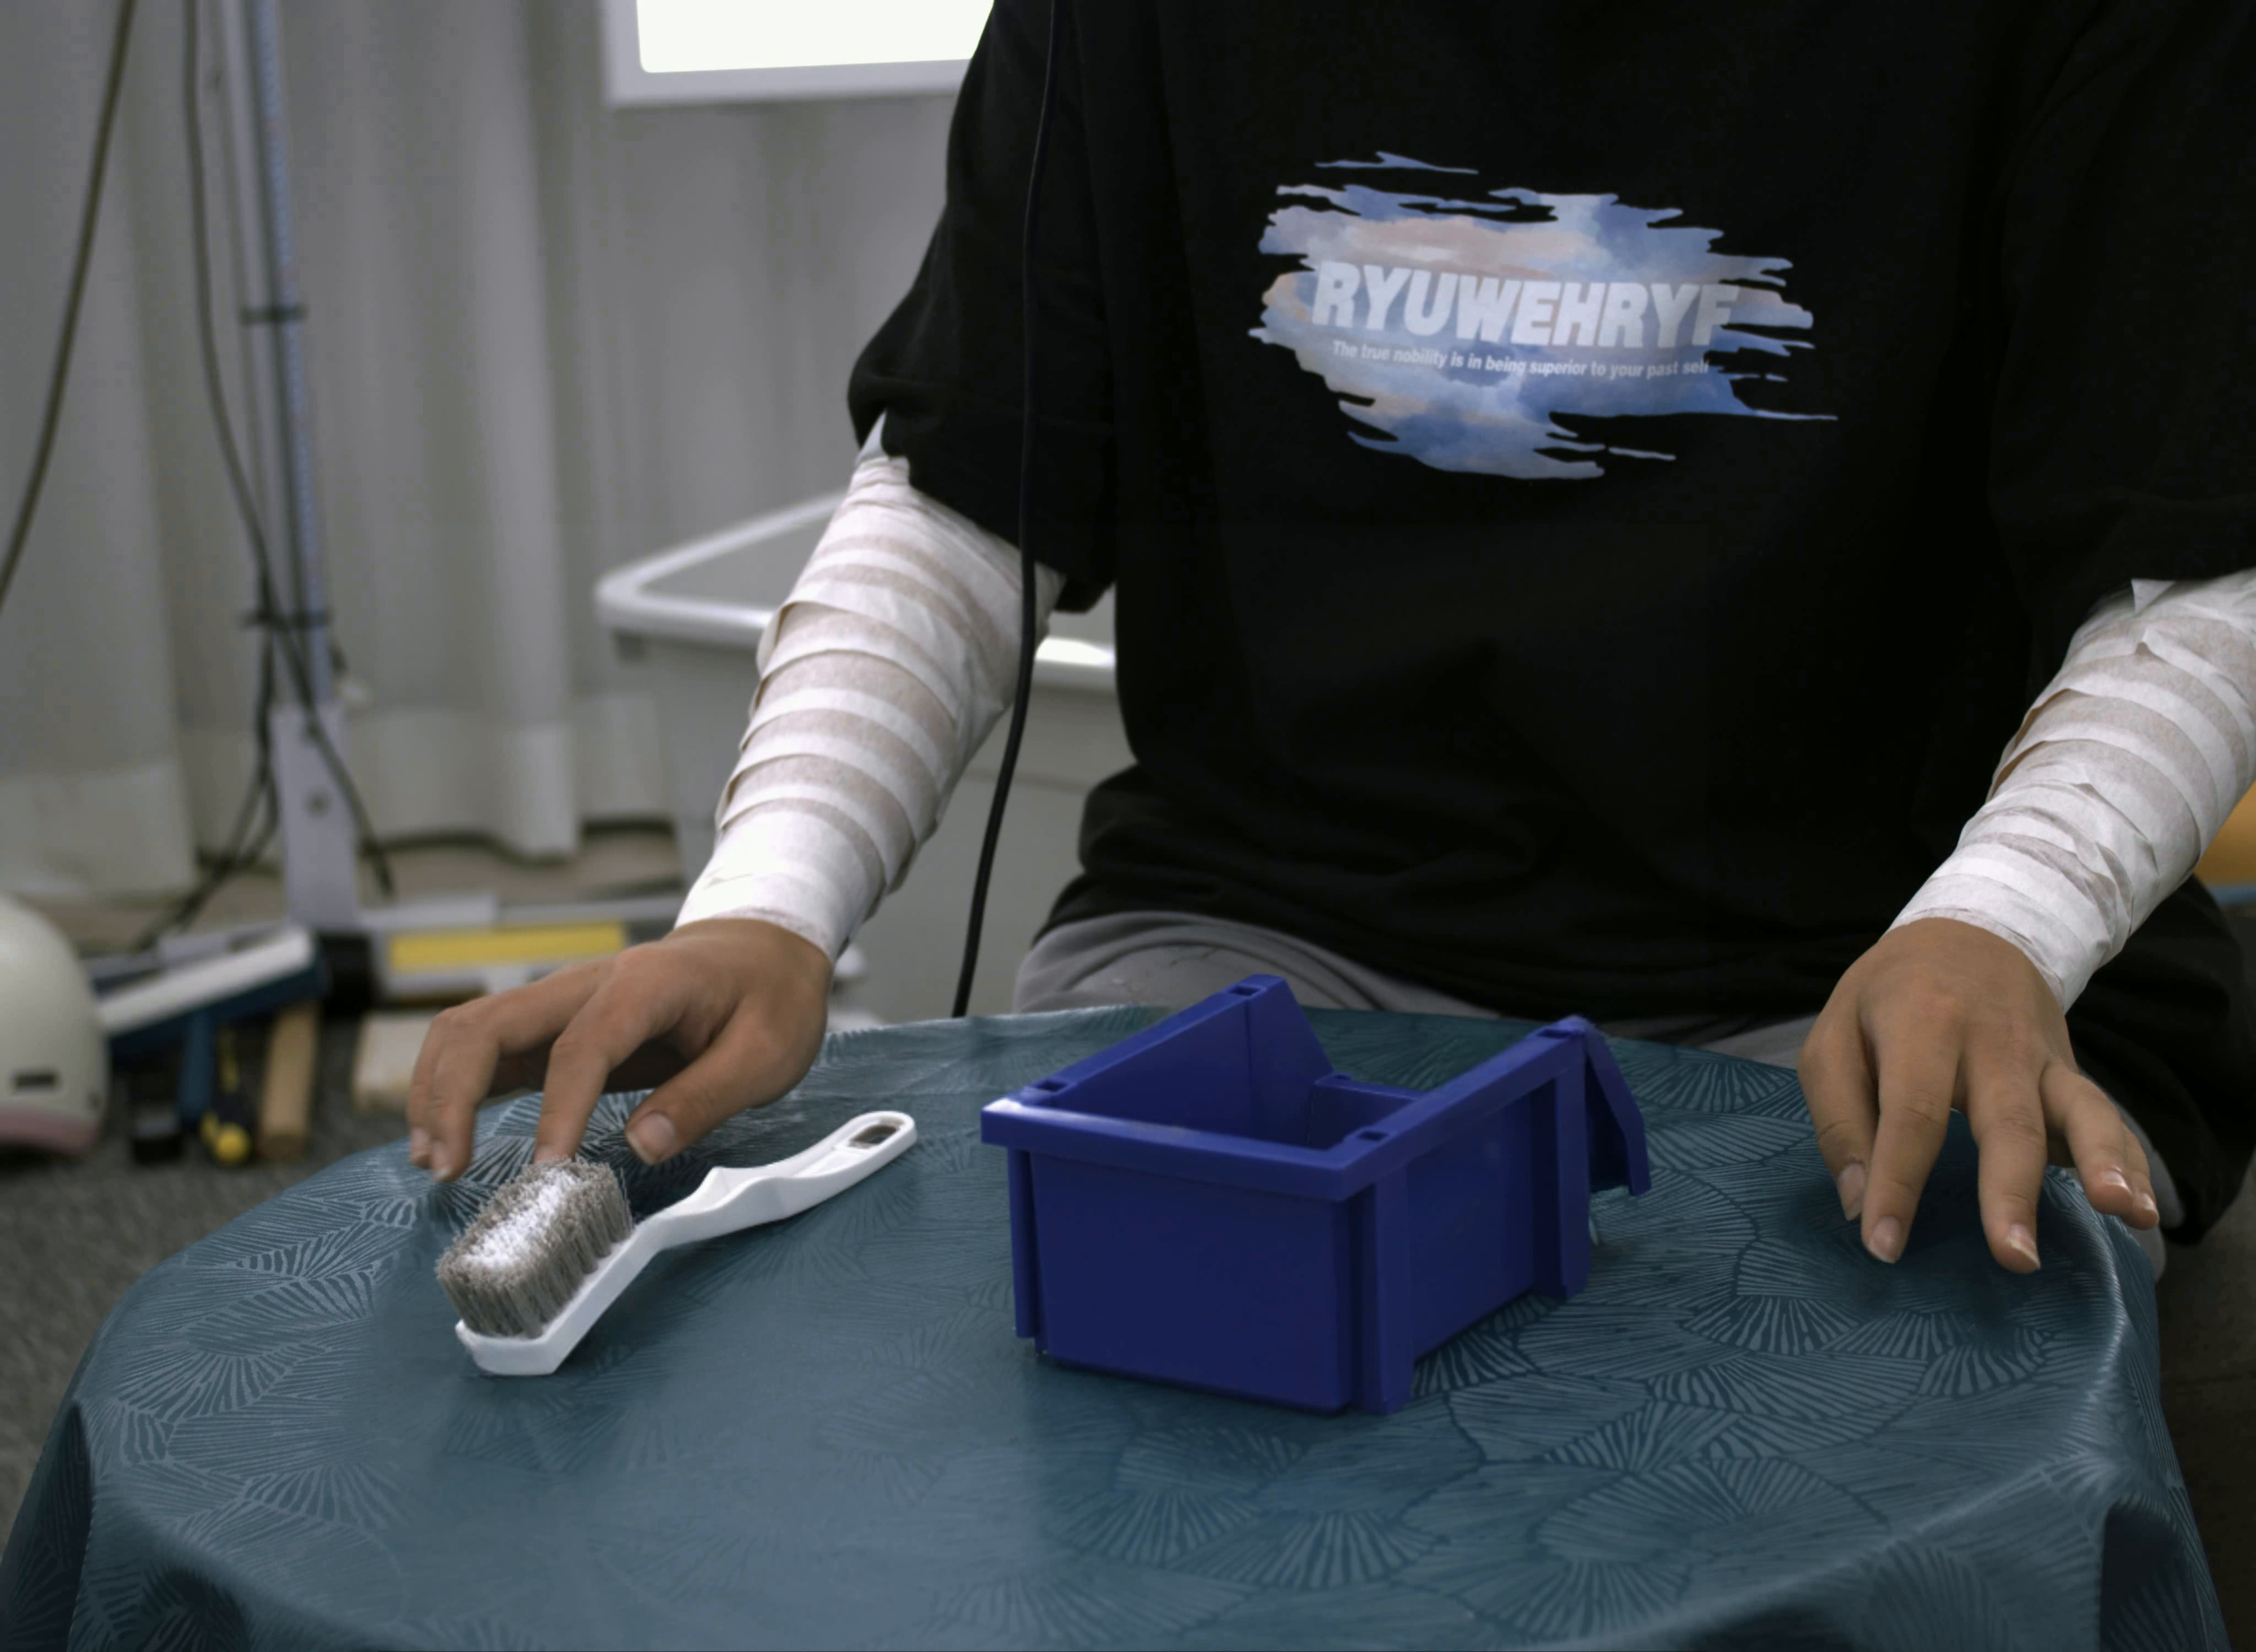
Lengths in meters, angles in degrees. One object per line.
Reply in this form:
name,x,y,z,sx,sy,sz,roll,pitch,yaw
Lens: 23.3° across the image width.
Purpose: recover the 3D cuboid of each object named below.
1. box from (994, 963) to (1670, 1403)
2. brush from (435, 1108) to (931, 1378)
box,0.061,0.100,1.599,0.125,0.081,0.179,7,18,34
brush,-0.130,0.107,1.667,0.034,0.050,0.244,6,18,29
